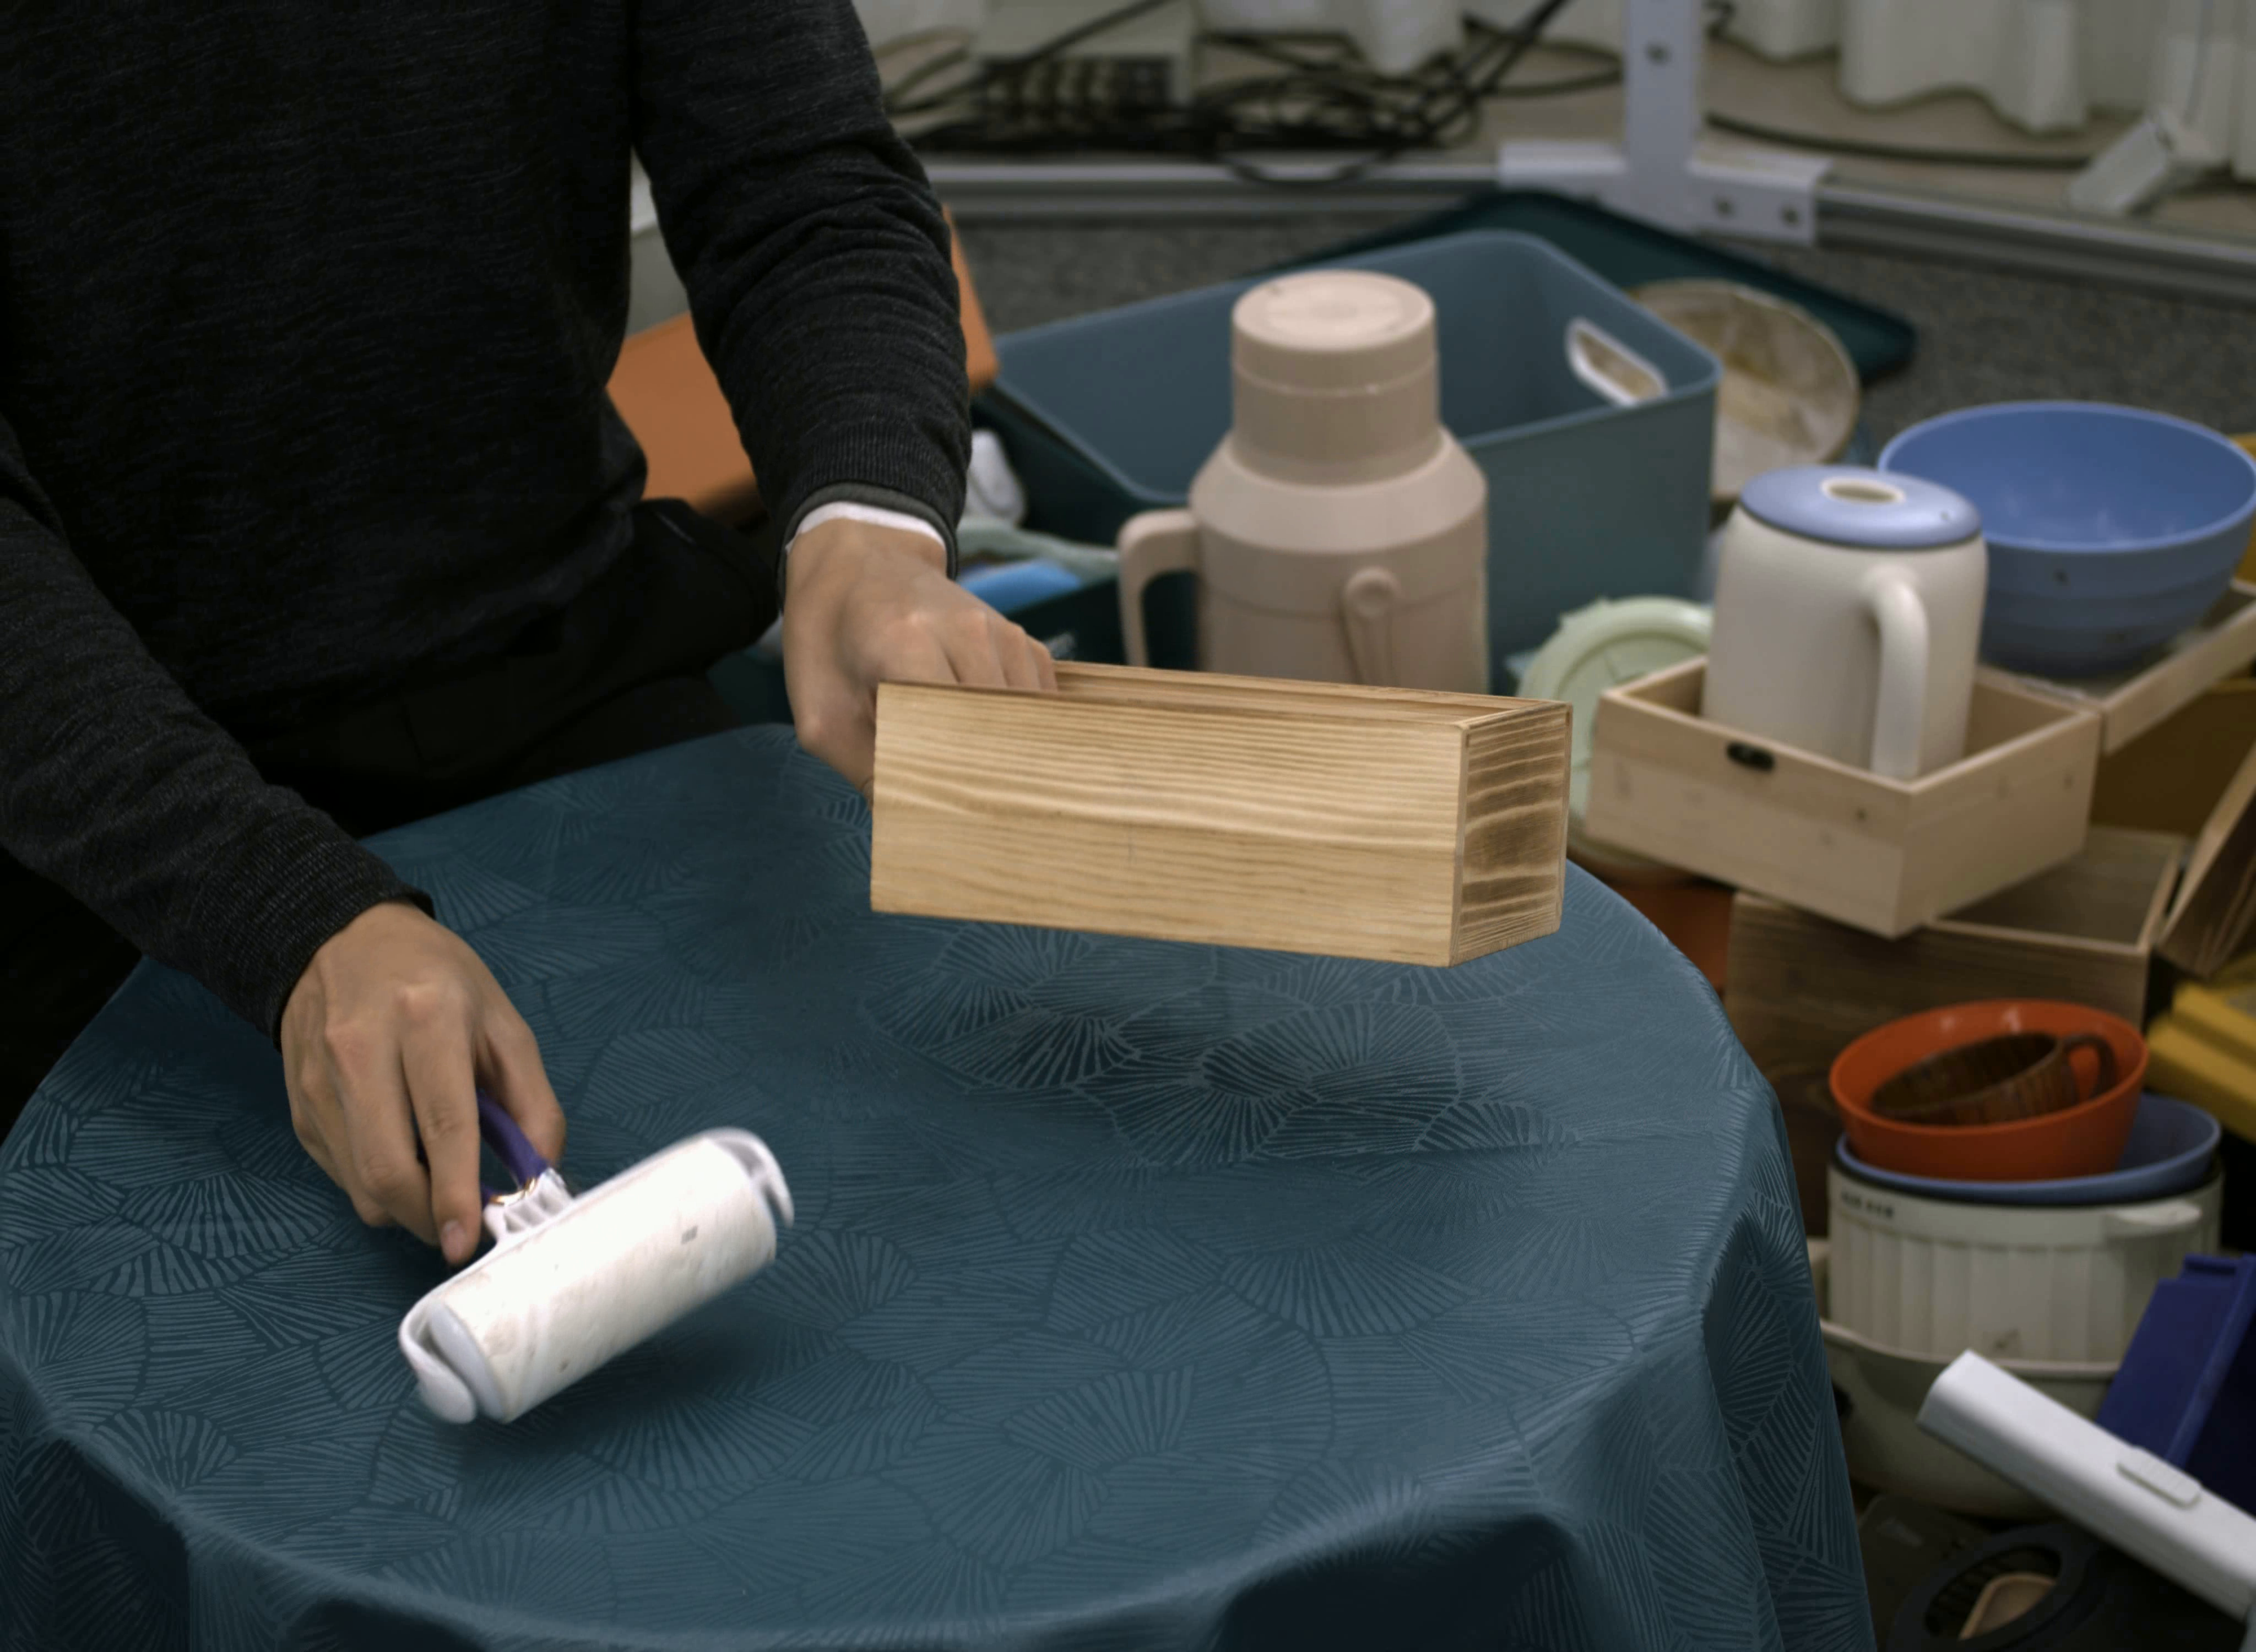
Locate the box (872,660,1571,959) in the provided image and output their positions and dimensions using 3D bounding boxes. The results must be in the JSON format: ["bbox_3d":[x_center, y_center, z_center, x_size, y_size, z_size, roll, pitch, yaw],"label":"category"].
[{"bbox_3d":[0.032,-0.007,1.892,0.210,0.080,0.108,4,5,23],"label":"box"}]

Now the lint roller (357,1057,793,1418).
[{"bbox_3d":[-0.199,0.108,1.799,0.134,0.049,0.182,-33,44,-19],"label":"lint roller"}]
